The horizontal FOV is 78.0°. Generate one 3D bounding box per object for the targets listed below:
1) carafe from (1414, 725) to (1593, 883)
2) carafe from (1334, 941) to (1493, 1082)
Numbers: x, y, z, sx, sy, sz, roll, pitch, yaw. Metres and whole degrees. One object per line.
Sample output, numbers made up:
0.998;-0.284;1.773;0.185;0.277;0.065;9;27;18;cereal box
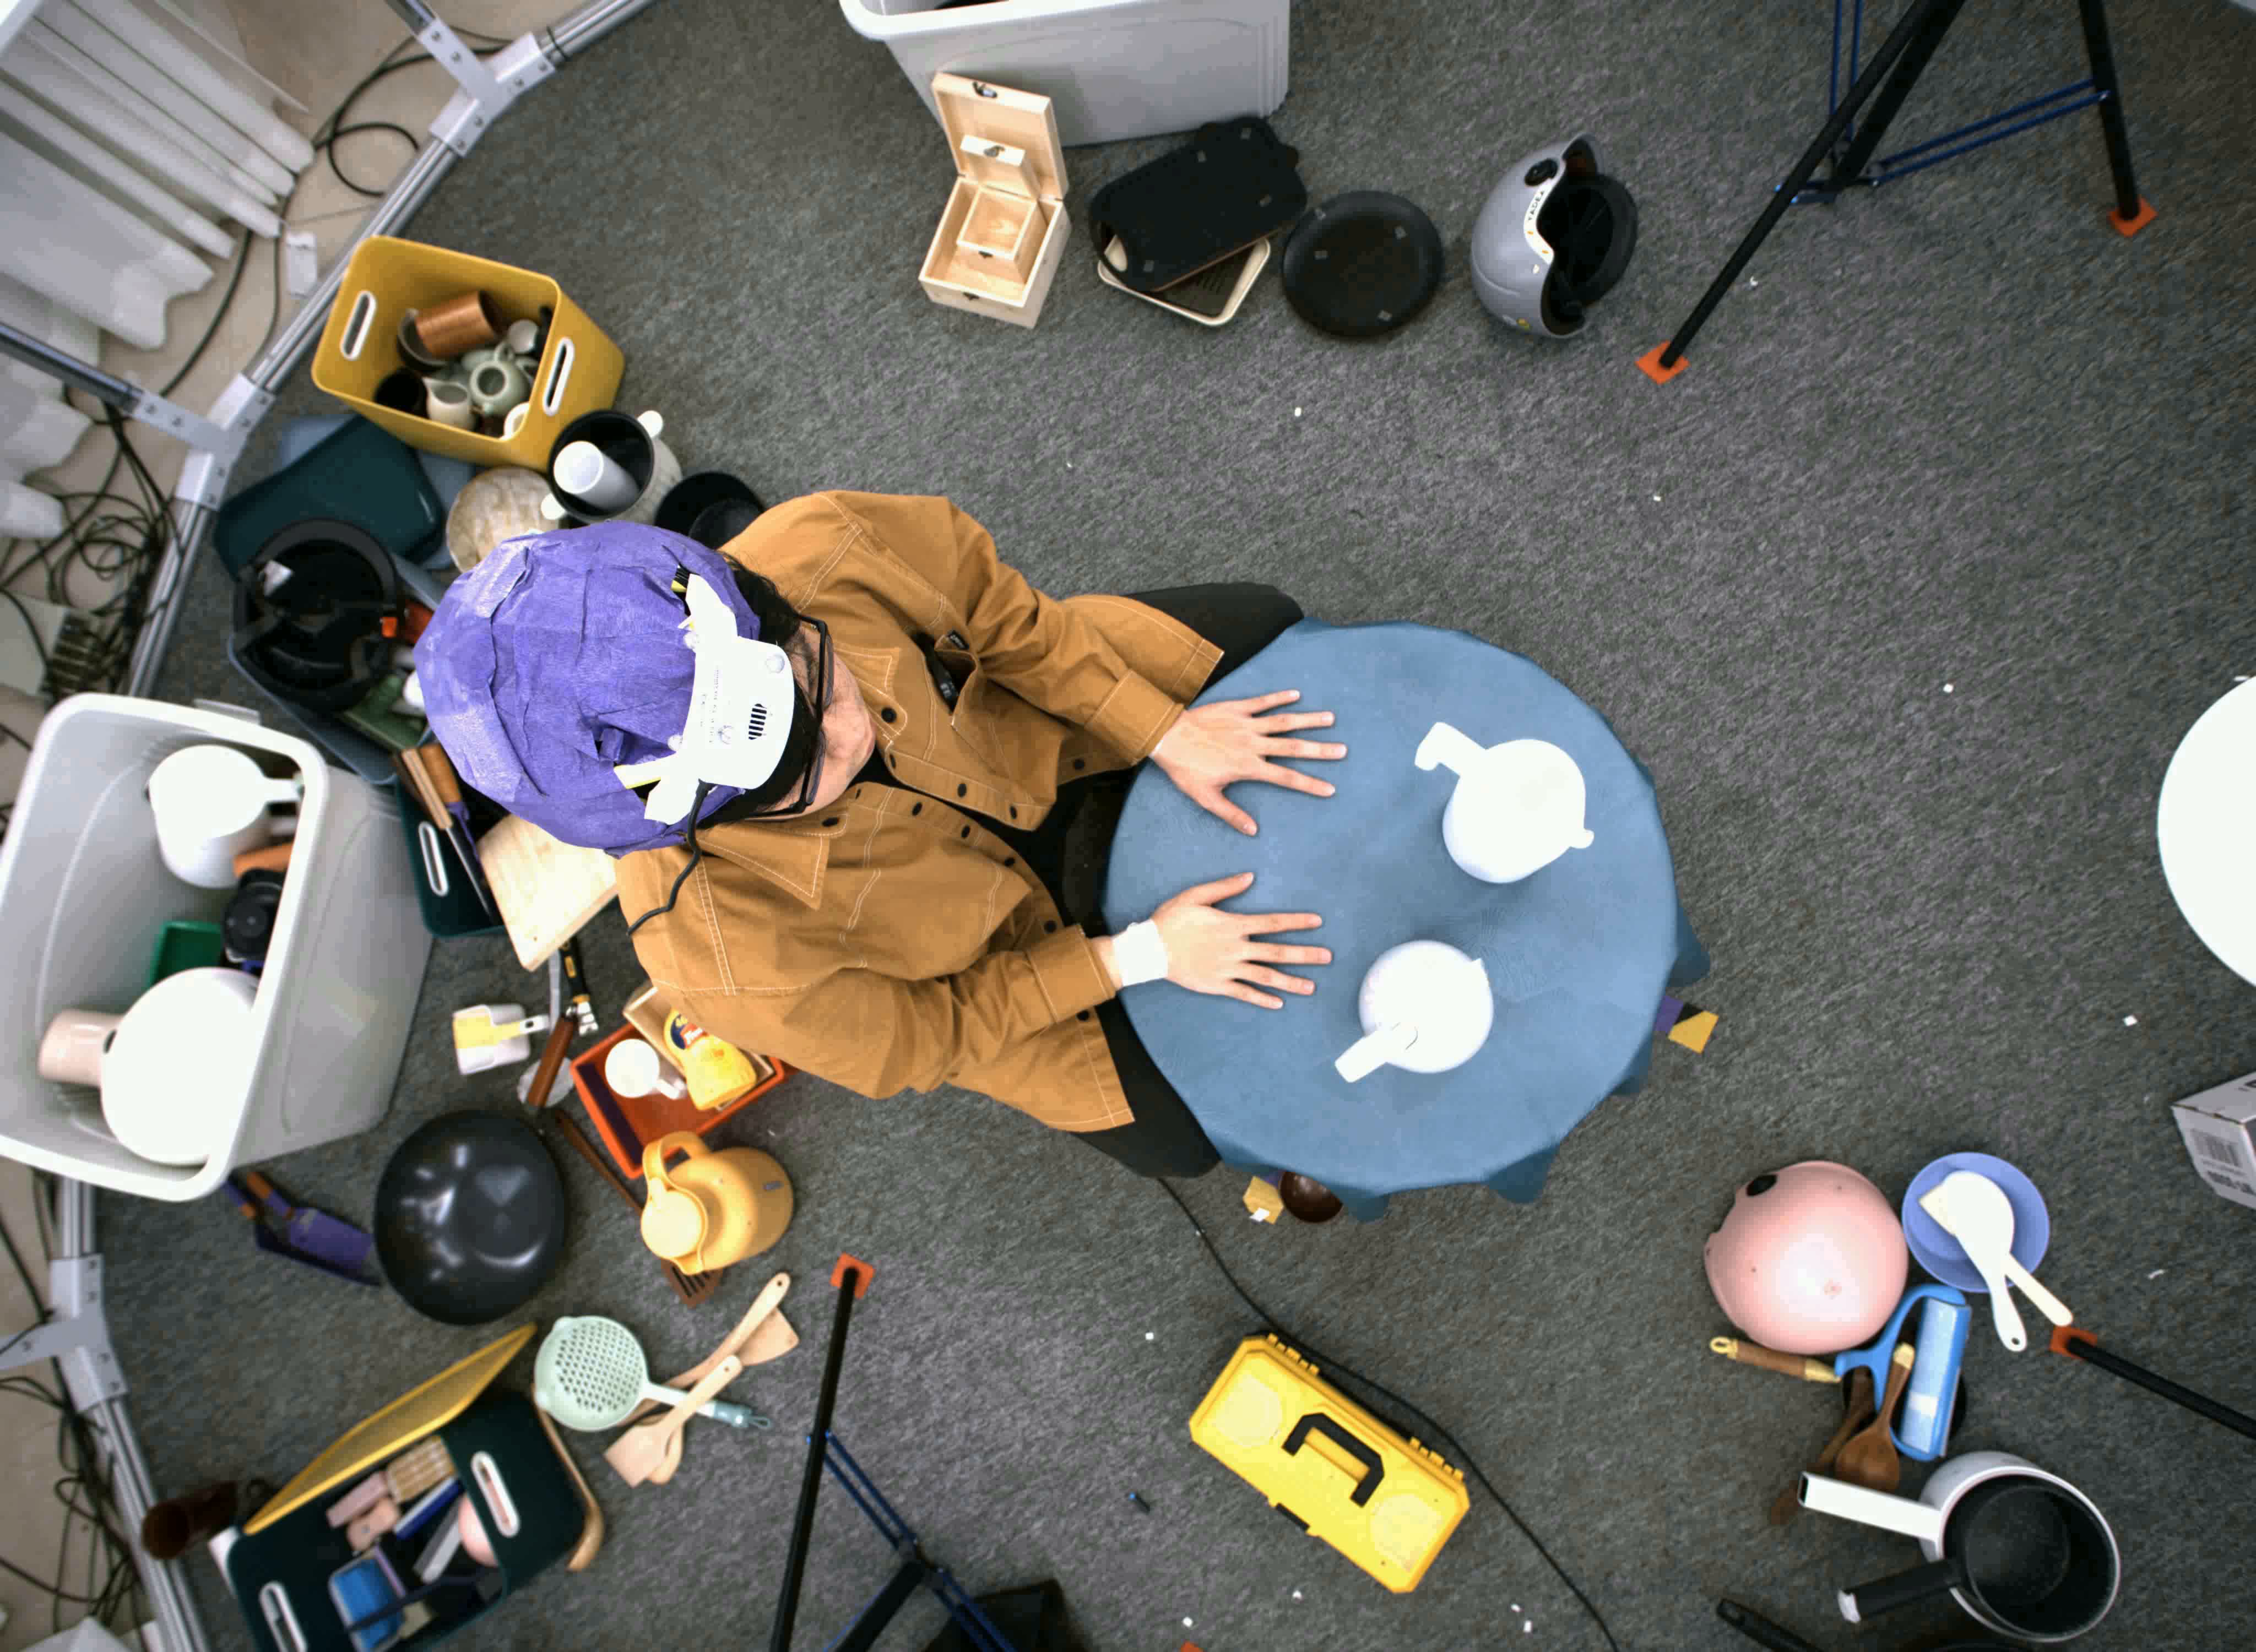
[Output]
0.351;-0.022;1.314;0.172;0.269;0.124;36;94;11;carafe
0.272;0.186;1.329;0.168;0.249;0.132;-39;79;6;carafe
